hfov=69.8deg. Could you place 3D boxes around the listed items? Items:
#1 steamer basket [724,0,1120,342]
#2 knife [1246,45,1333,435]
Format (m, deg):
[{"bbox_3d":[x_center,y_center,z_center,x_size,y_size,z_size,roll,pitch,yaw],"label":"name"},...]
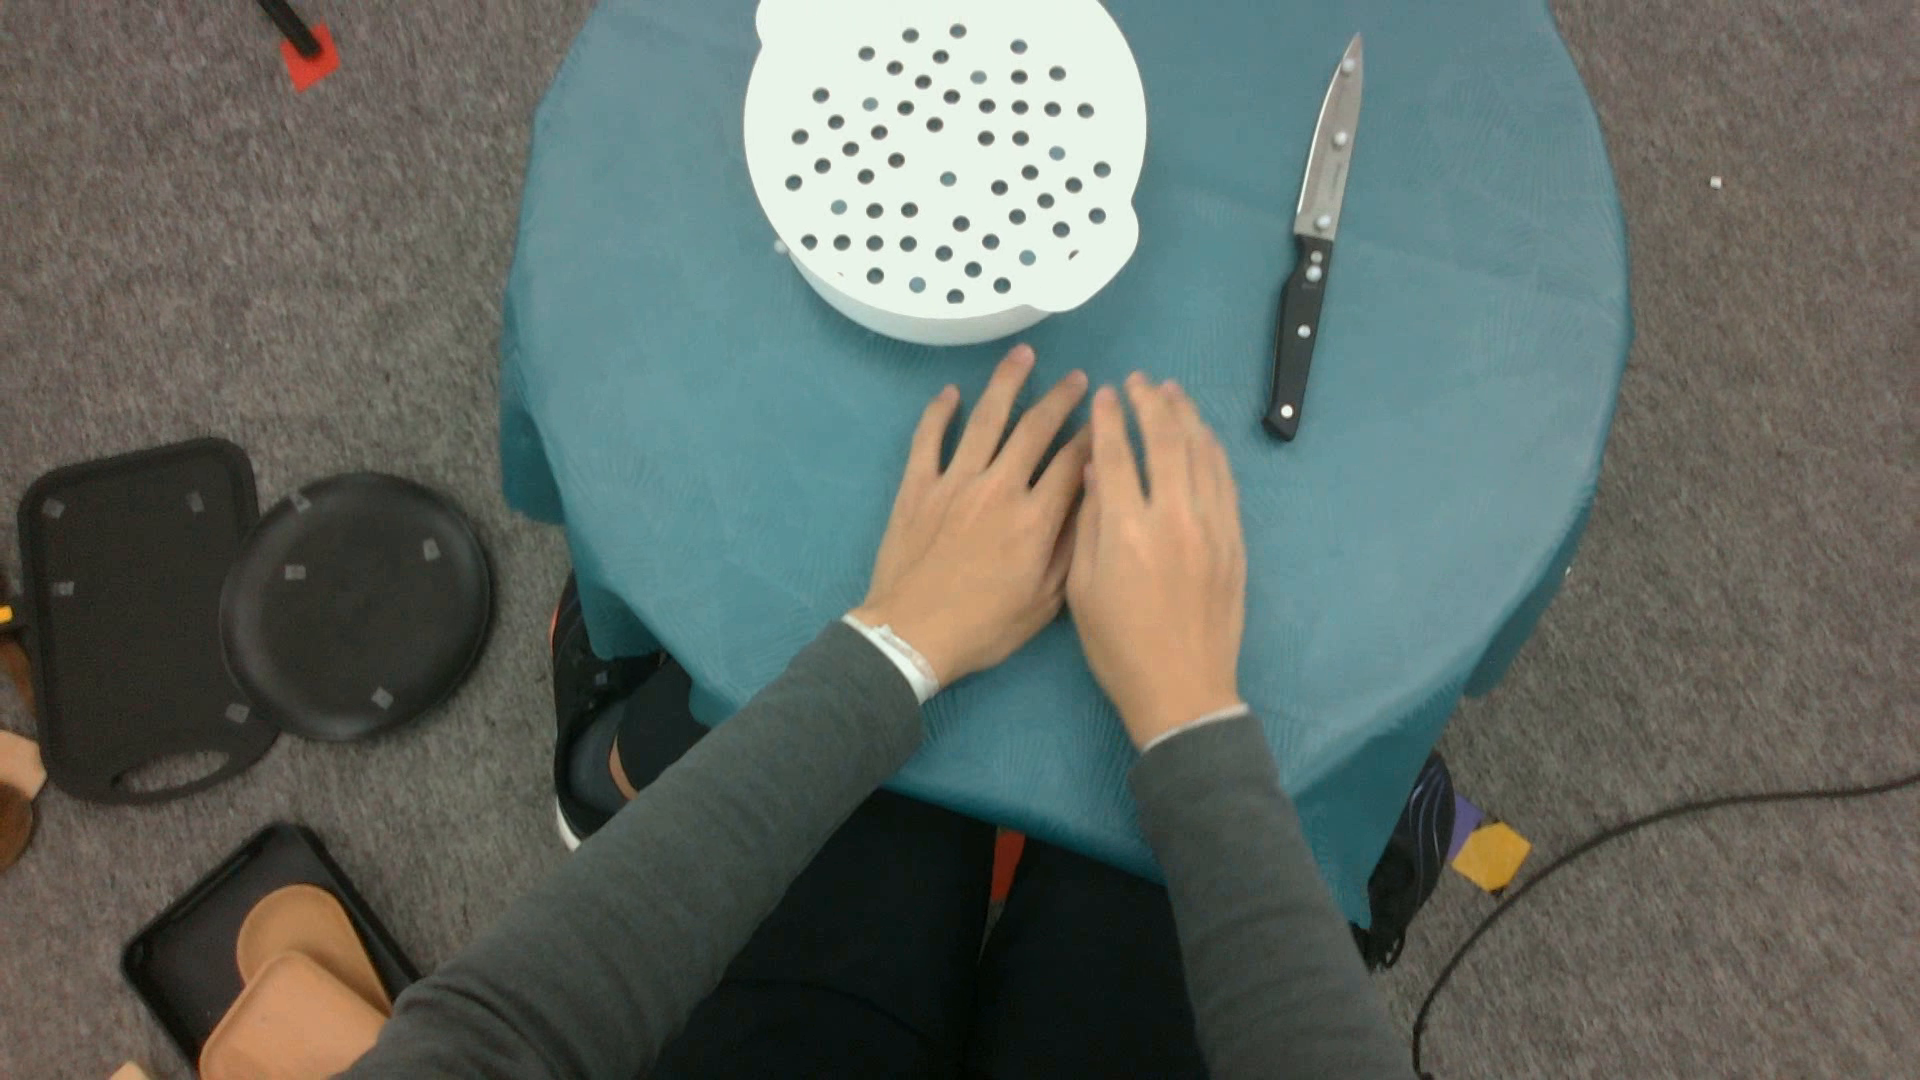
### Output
[{"bbox_3d":[-0.019,-0.204,0.726,0.202,0.069,0.230,-43,82,-8],"label":"steamer basket"},{"bbox_3d":[0.184,-0.167,0.747,0.024,0.016,0.239,12,75,1],"label":"knife"}]
